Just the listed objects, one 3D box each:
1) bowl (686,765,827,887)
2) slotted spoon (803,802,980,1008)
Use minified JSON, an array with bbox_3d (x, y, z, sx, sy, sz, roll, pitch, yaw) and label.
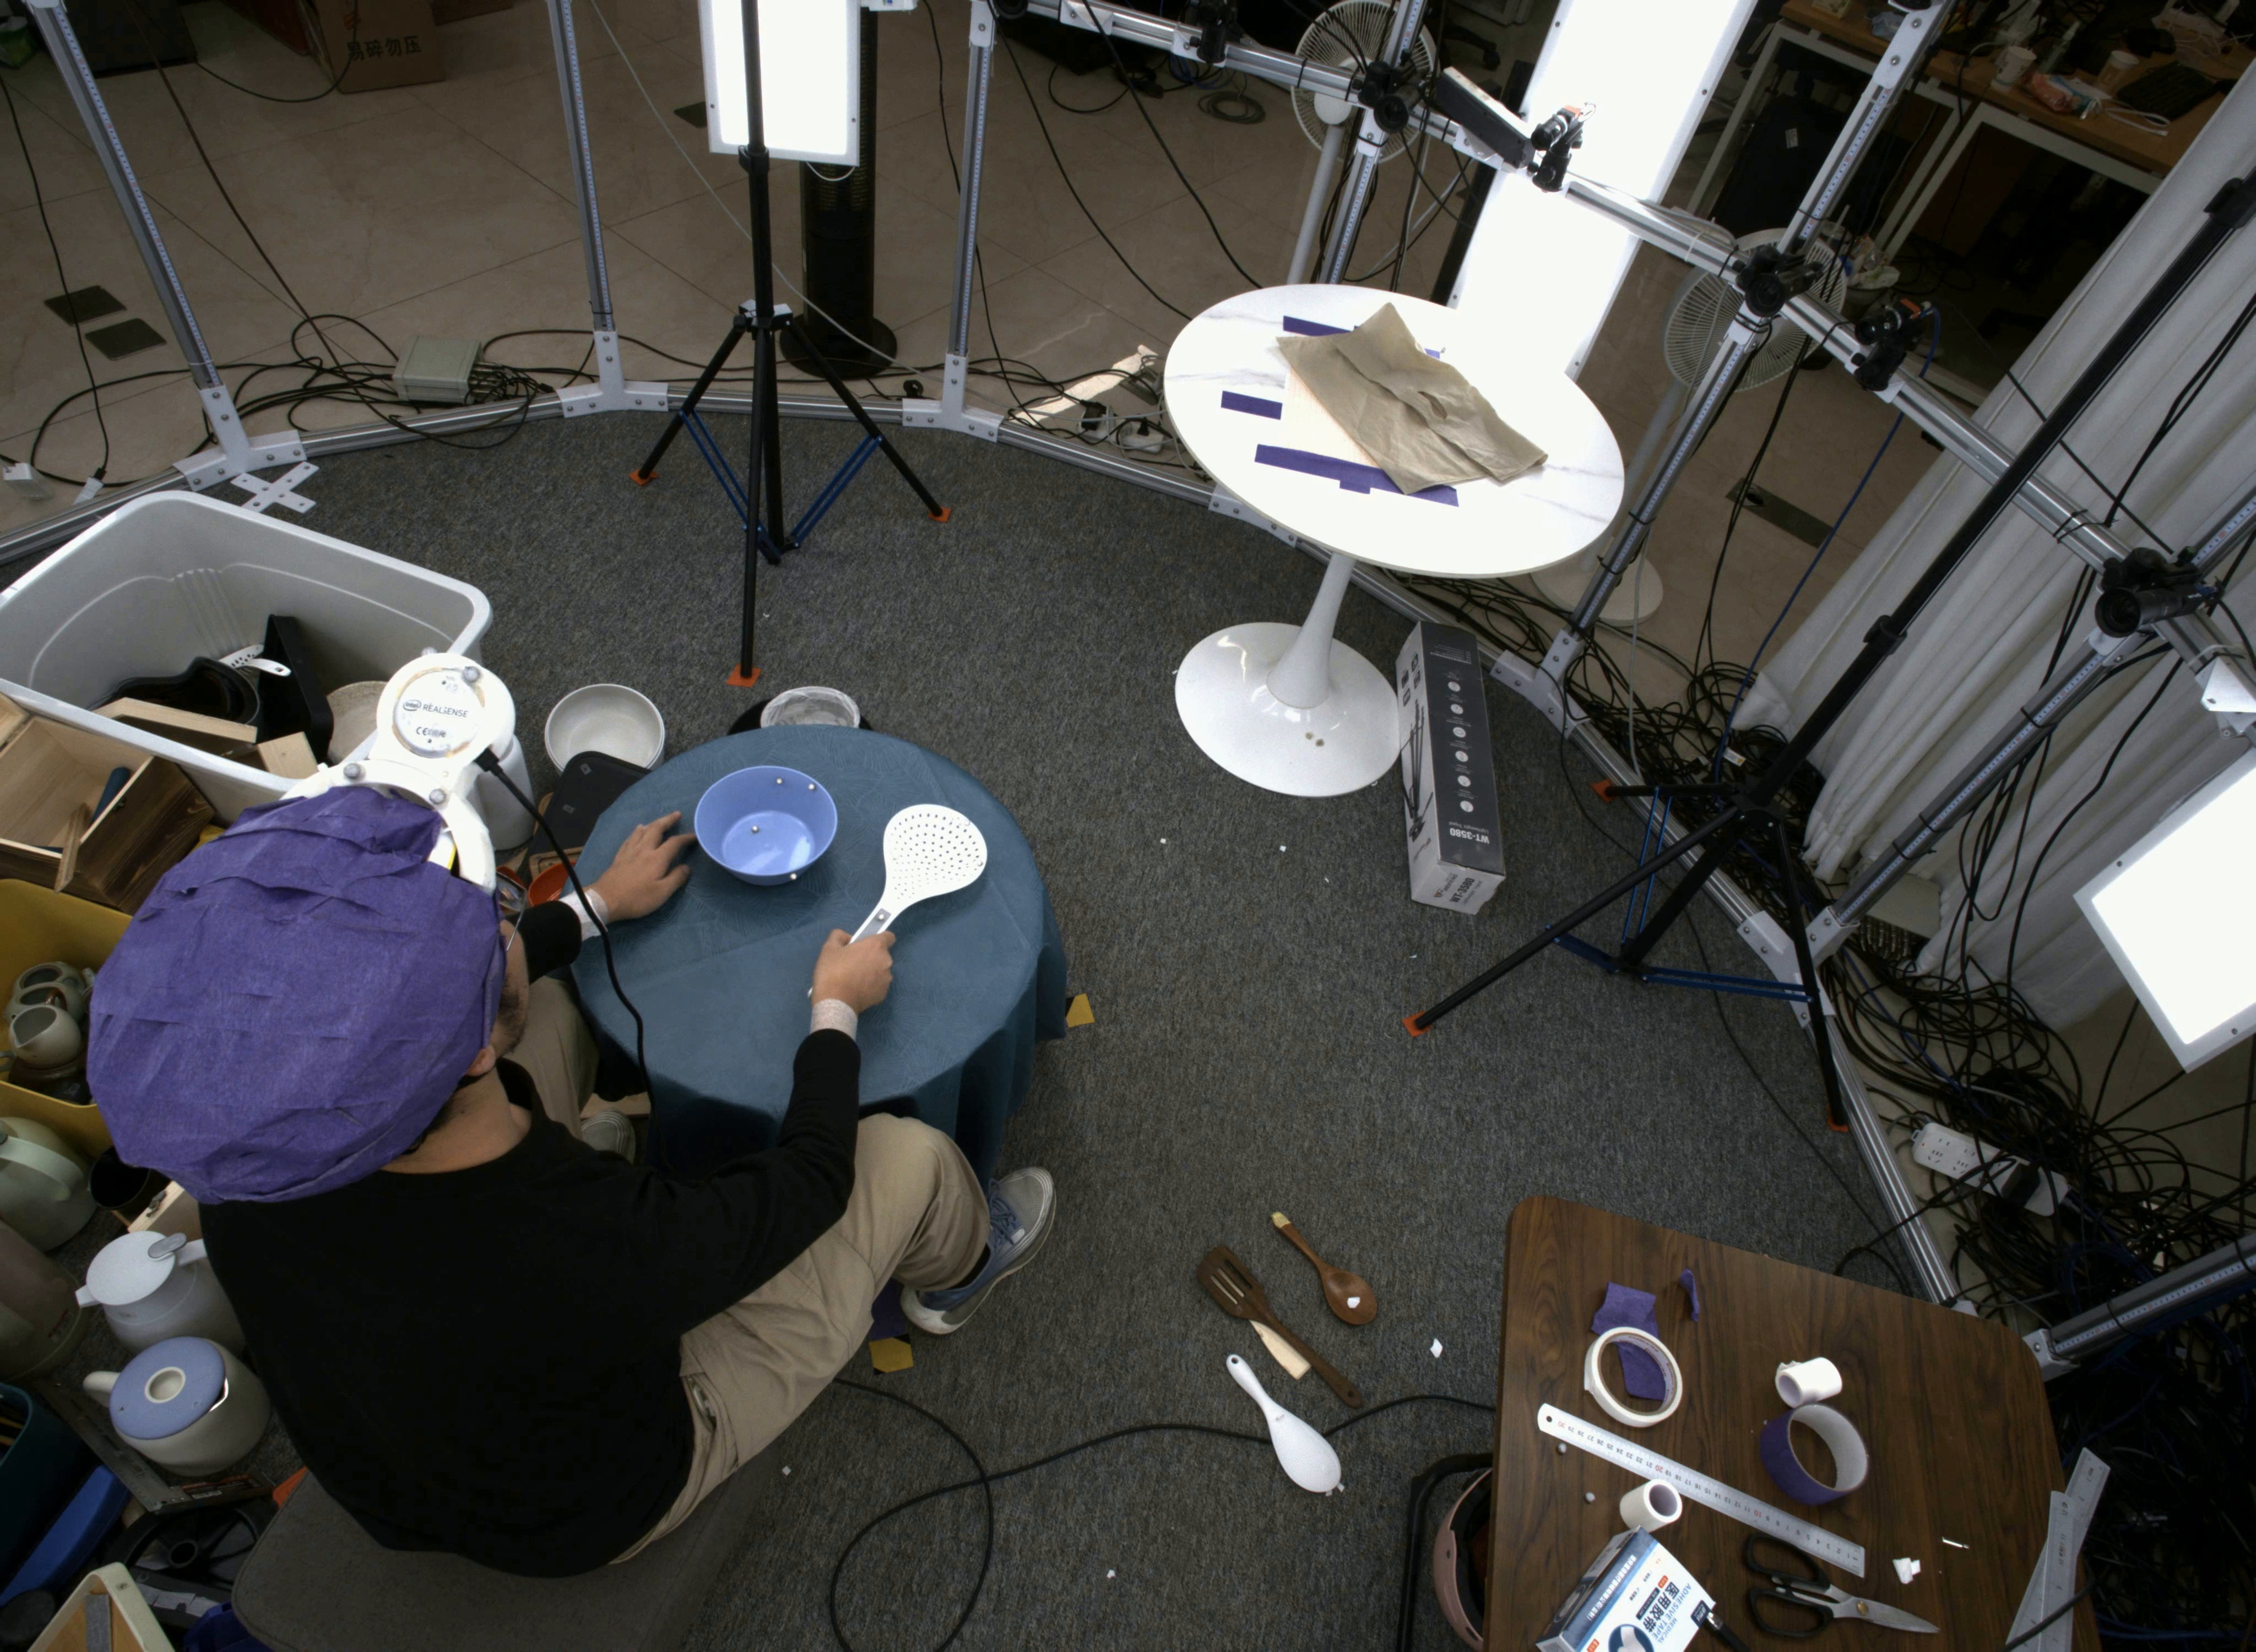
[{"bbox_3d":[-0.472,0.010,1.653,0.175,0.072,0.173,7,53,-8],"label":"bowl"},{"bbox_3d":[-0.301,0.095,1.624,0.136,0.046,0.347,33,42,-2],"label":"slotted spoon"}]
